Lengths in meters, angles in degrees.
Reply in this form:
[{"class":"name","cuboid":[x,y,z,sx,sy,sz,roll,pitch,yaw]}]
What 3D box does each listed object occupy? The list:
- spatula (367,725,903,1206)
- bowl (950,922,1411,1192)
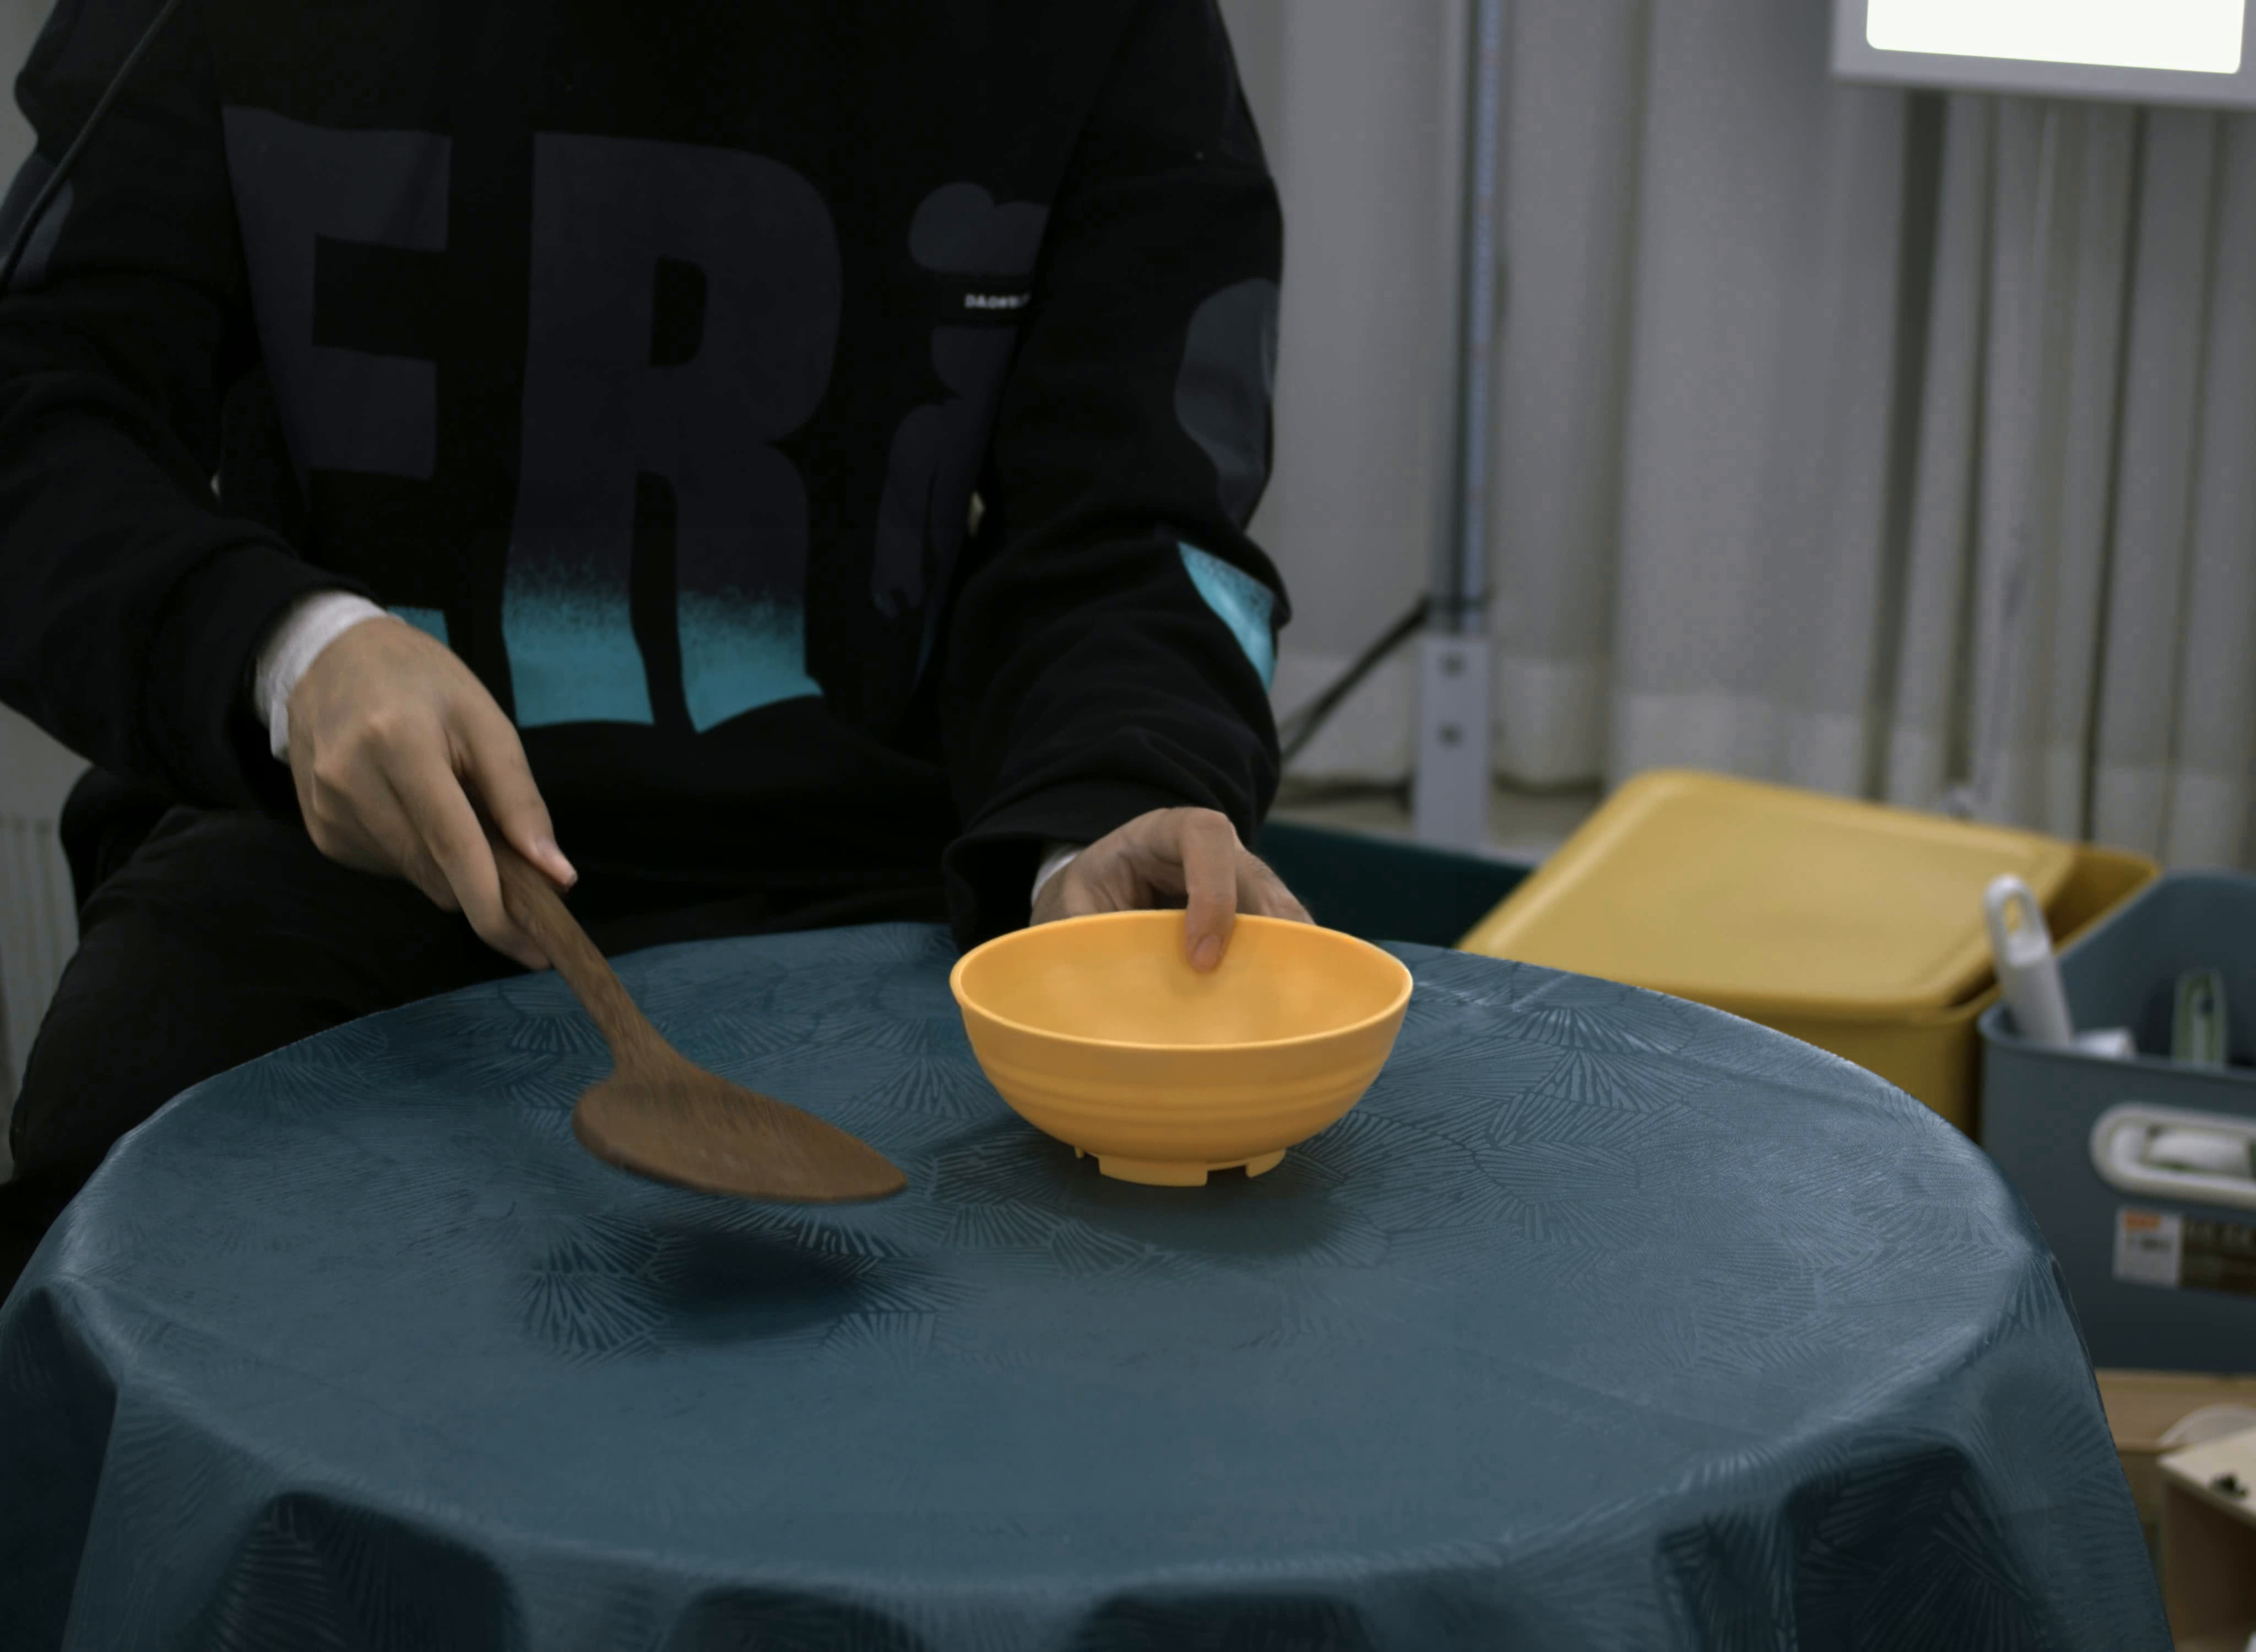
[{"class":"spatula","cuboid":[-0.178,0.037,1.671,0.097,0.016,0.381,7,19,-28]},{"class":"bowl","cuboid":[0.015,0.077,1.652,0.145,0.060,0.144,2,14,0]}]
